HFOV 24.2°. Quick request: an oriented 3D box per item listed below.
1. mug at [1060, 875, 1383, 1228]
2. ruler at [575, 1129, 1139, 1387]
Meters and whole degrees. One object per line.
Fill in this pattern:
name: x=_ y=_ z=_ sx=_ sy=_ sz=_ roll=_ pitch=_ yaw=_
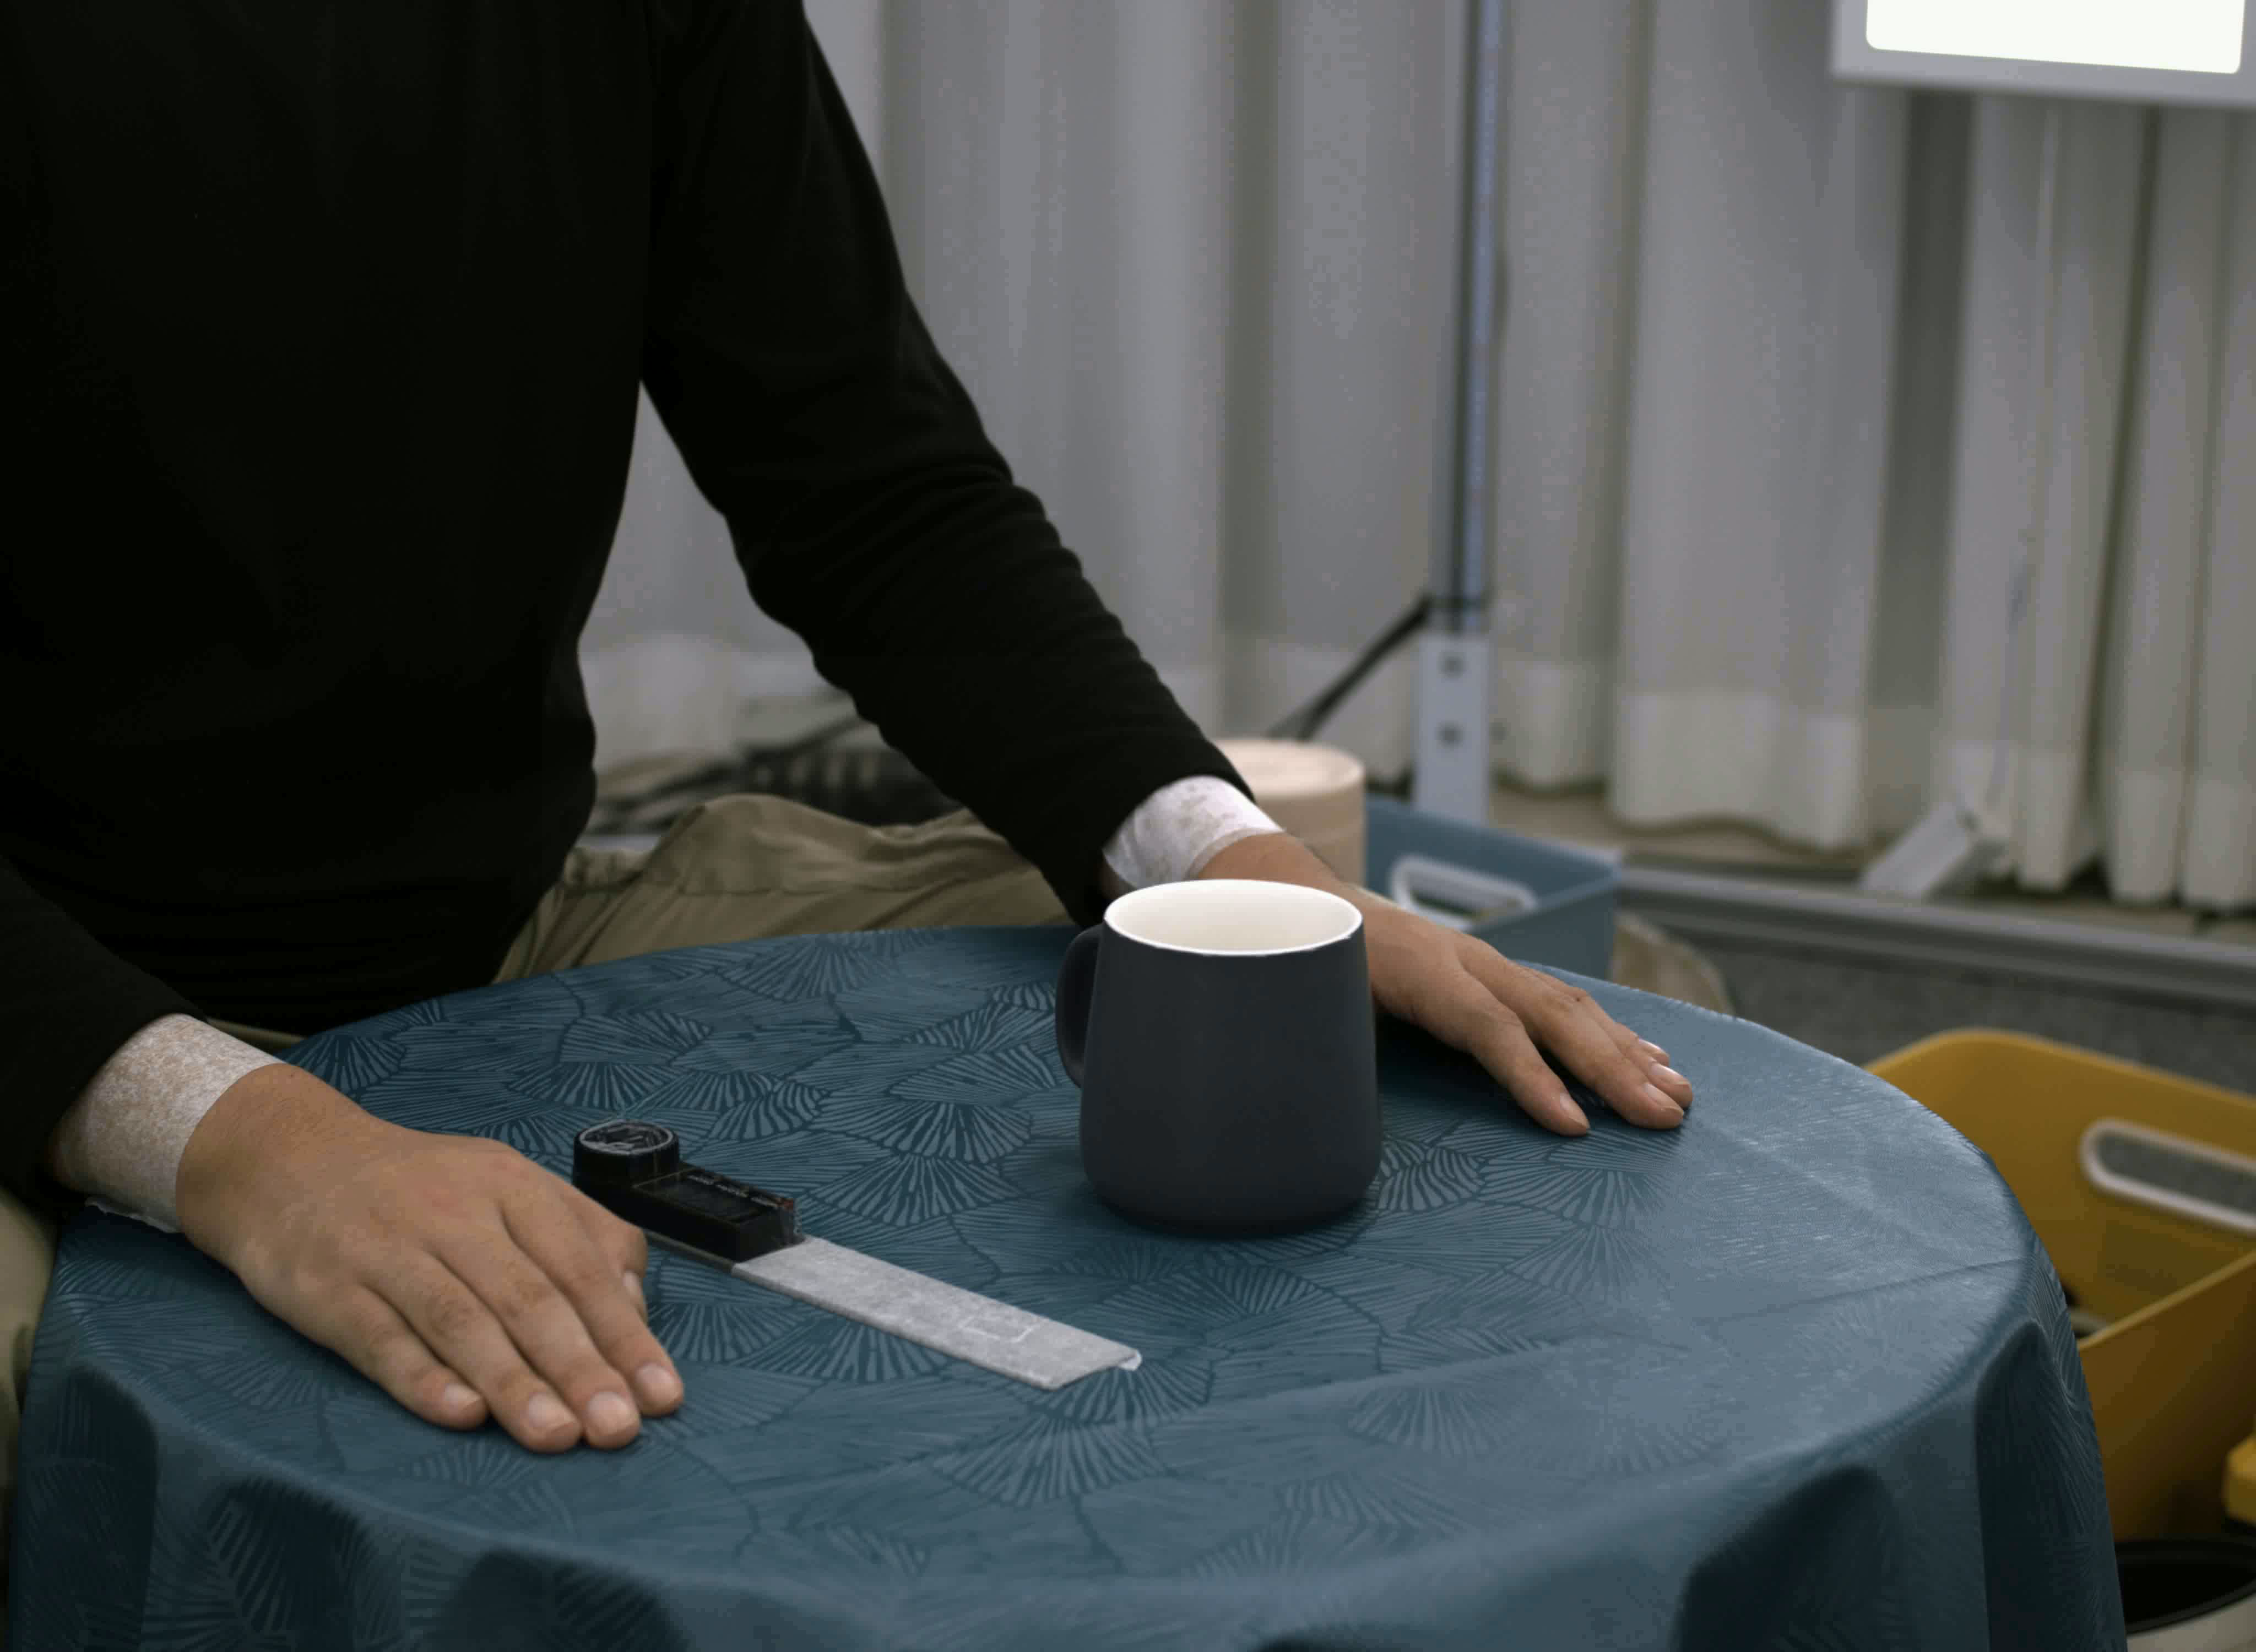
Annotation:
mug: x=0.023 y=0.065 z=1.616 sx=0.094 sy=0.090 sz=0.121 roll=-12 pitch=21 yaw=-39
ruler: x=-0.086 y=0.123 z=1.537 sx=0.215 sy=0.024 sz=0.038 roll=13 pitch=27 yaw=42
